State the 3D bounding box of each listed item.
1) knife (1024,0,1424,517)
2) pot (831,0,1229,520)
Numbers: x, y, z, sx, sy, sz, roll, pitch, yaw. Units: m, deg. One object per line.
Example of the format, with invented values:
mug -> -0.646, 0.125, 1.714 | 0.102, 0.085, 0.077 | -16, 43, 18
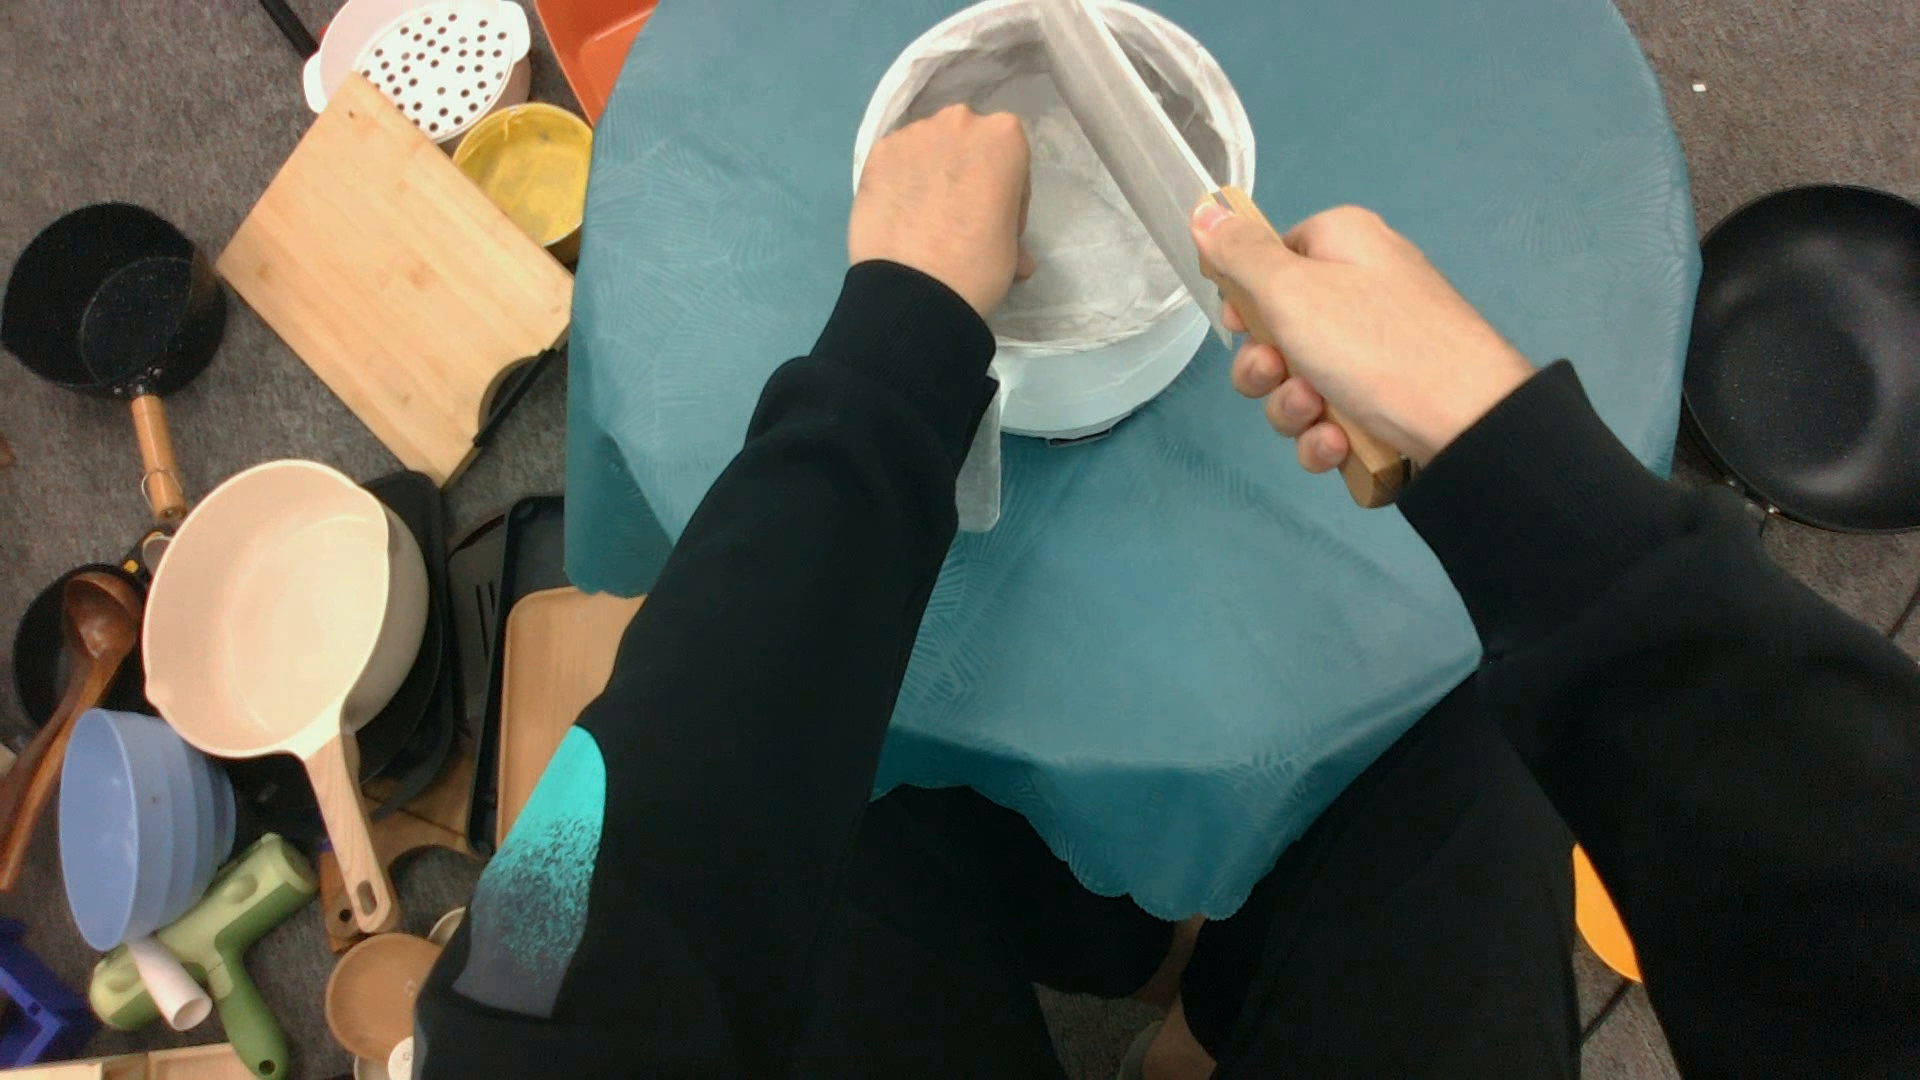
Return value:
knife -> 0.083, -0.132, 0.530 | 0.022, 0.113, 0.316 | -24, 56, -2
pot -> 0.026, -0.129, 0.666 | 0.178, 0.136, 0.234 | 15, 76, 7
